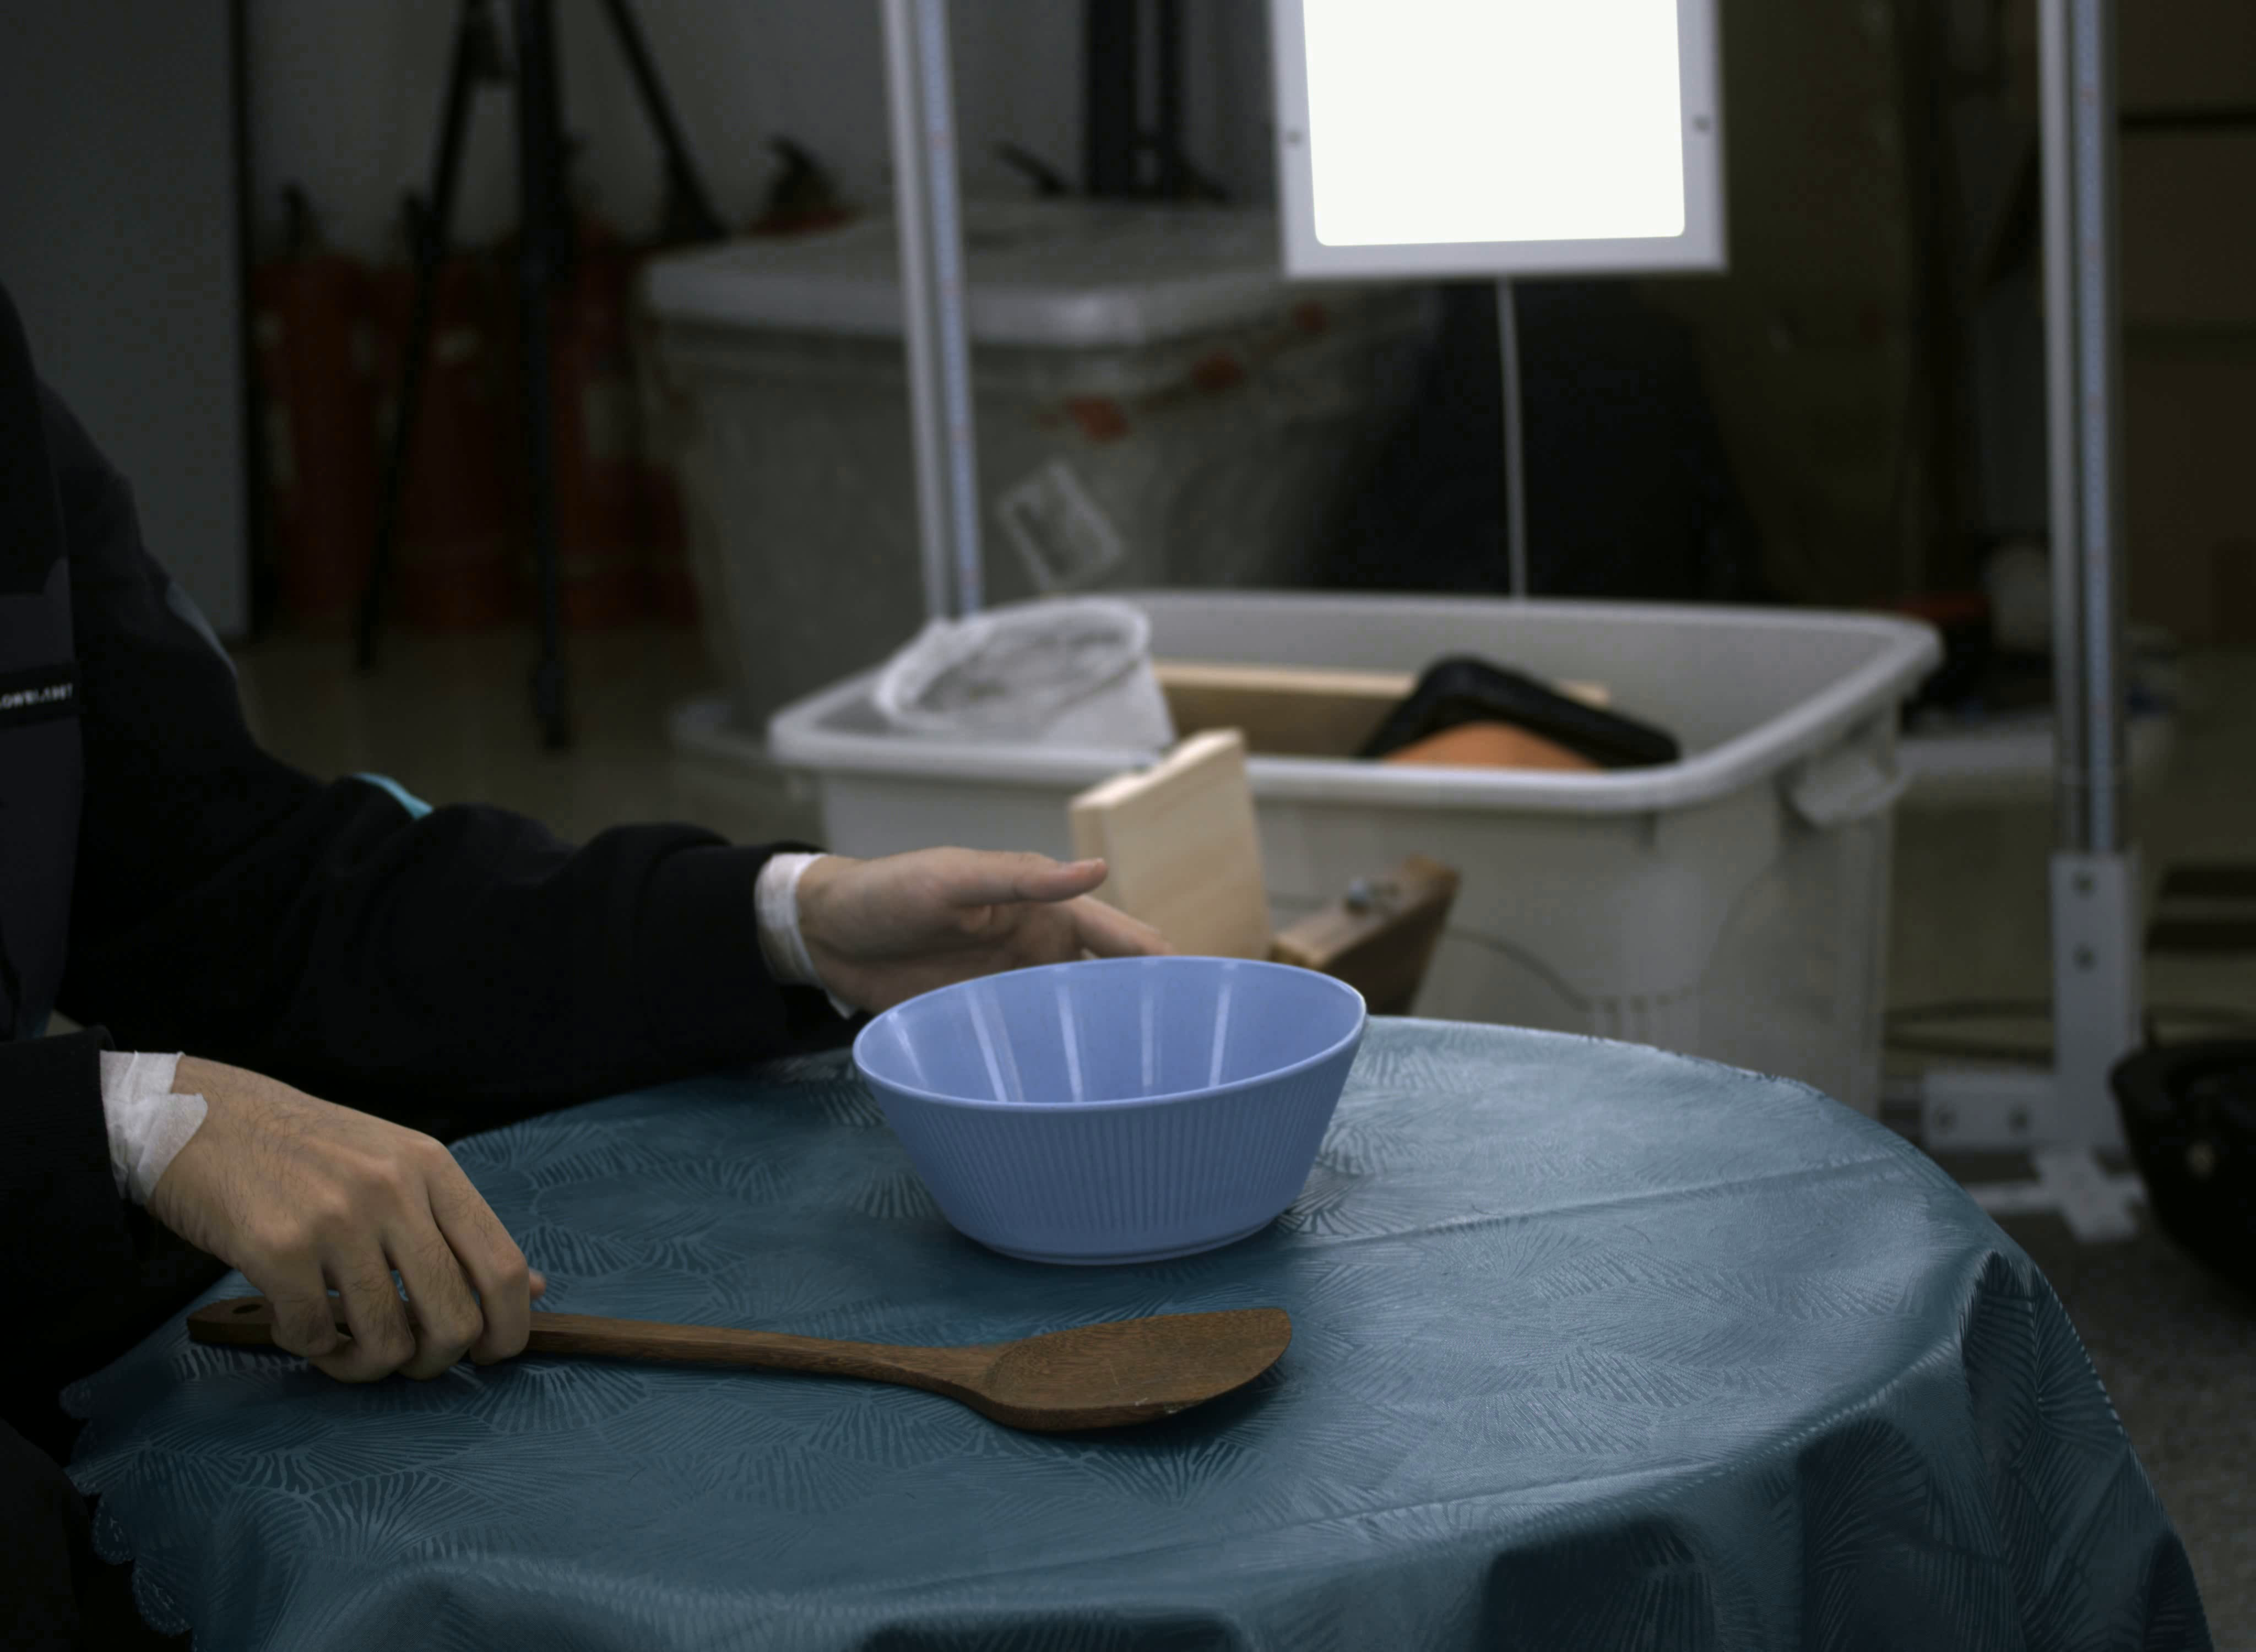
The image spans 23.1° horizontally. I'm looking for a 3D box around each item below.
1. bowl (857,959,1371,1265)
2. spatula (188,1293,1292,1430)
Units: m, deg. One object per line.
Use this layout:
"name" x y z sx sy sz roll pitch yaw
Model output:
"bowl" -0.002 0.099 1.863 0.175 0.070 0.176 -6 13 0
"spatula" -0.133 0.165 1.758 0.392 0.016 0.094 1 14 24
